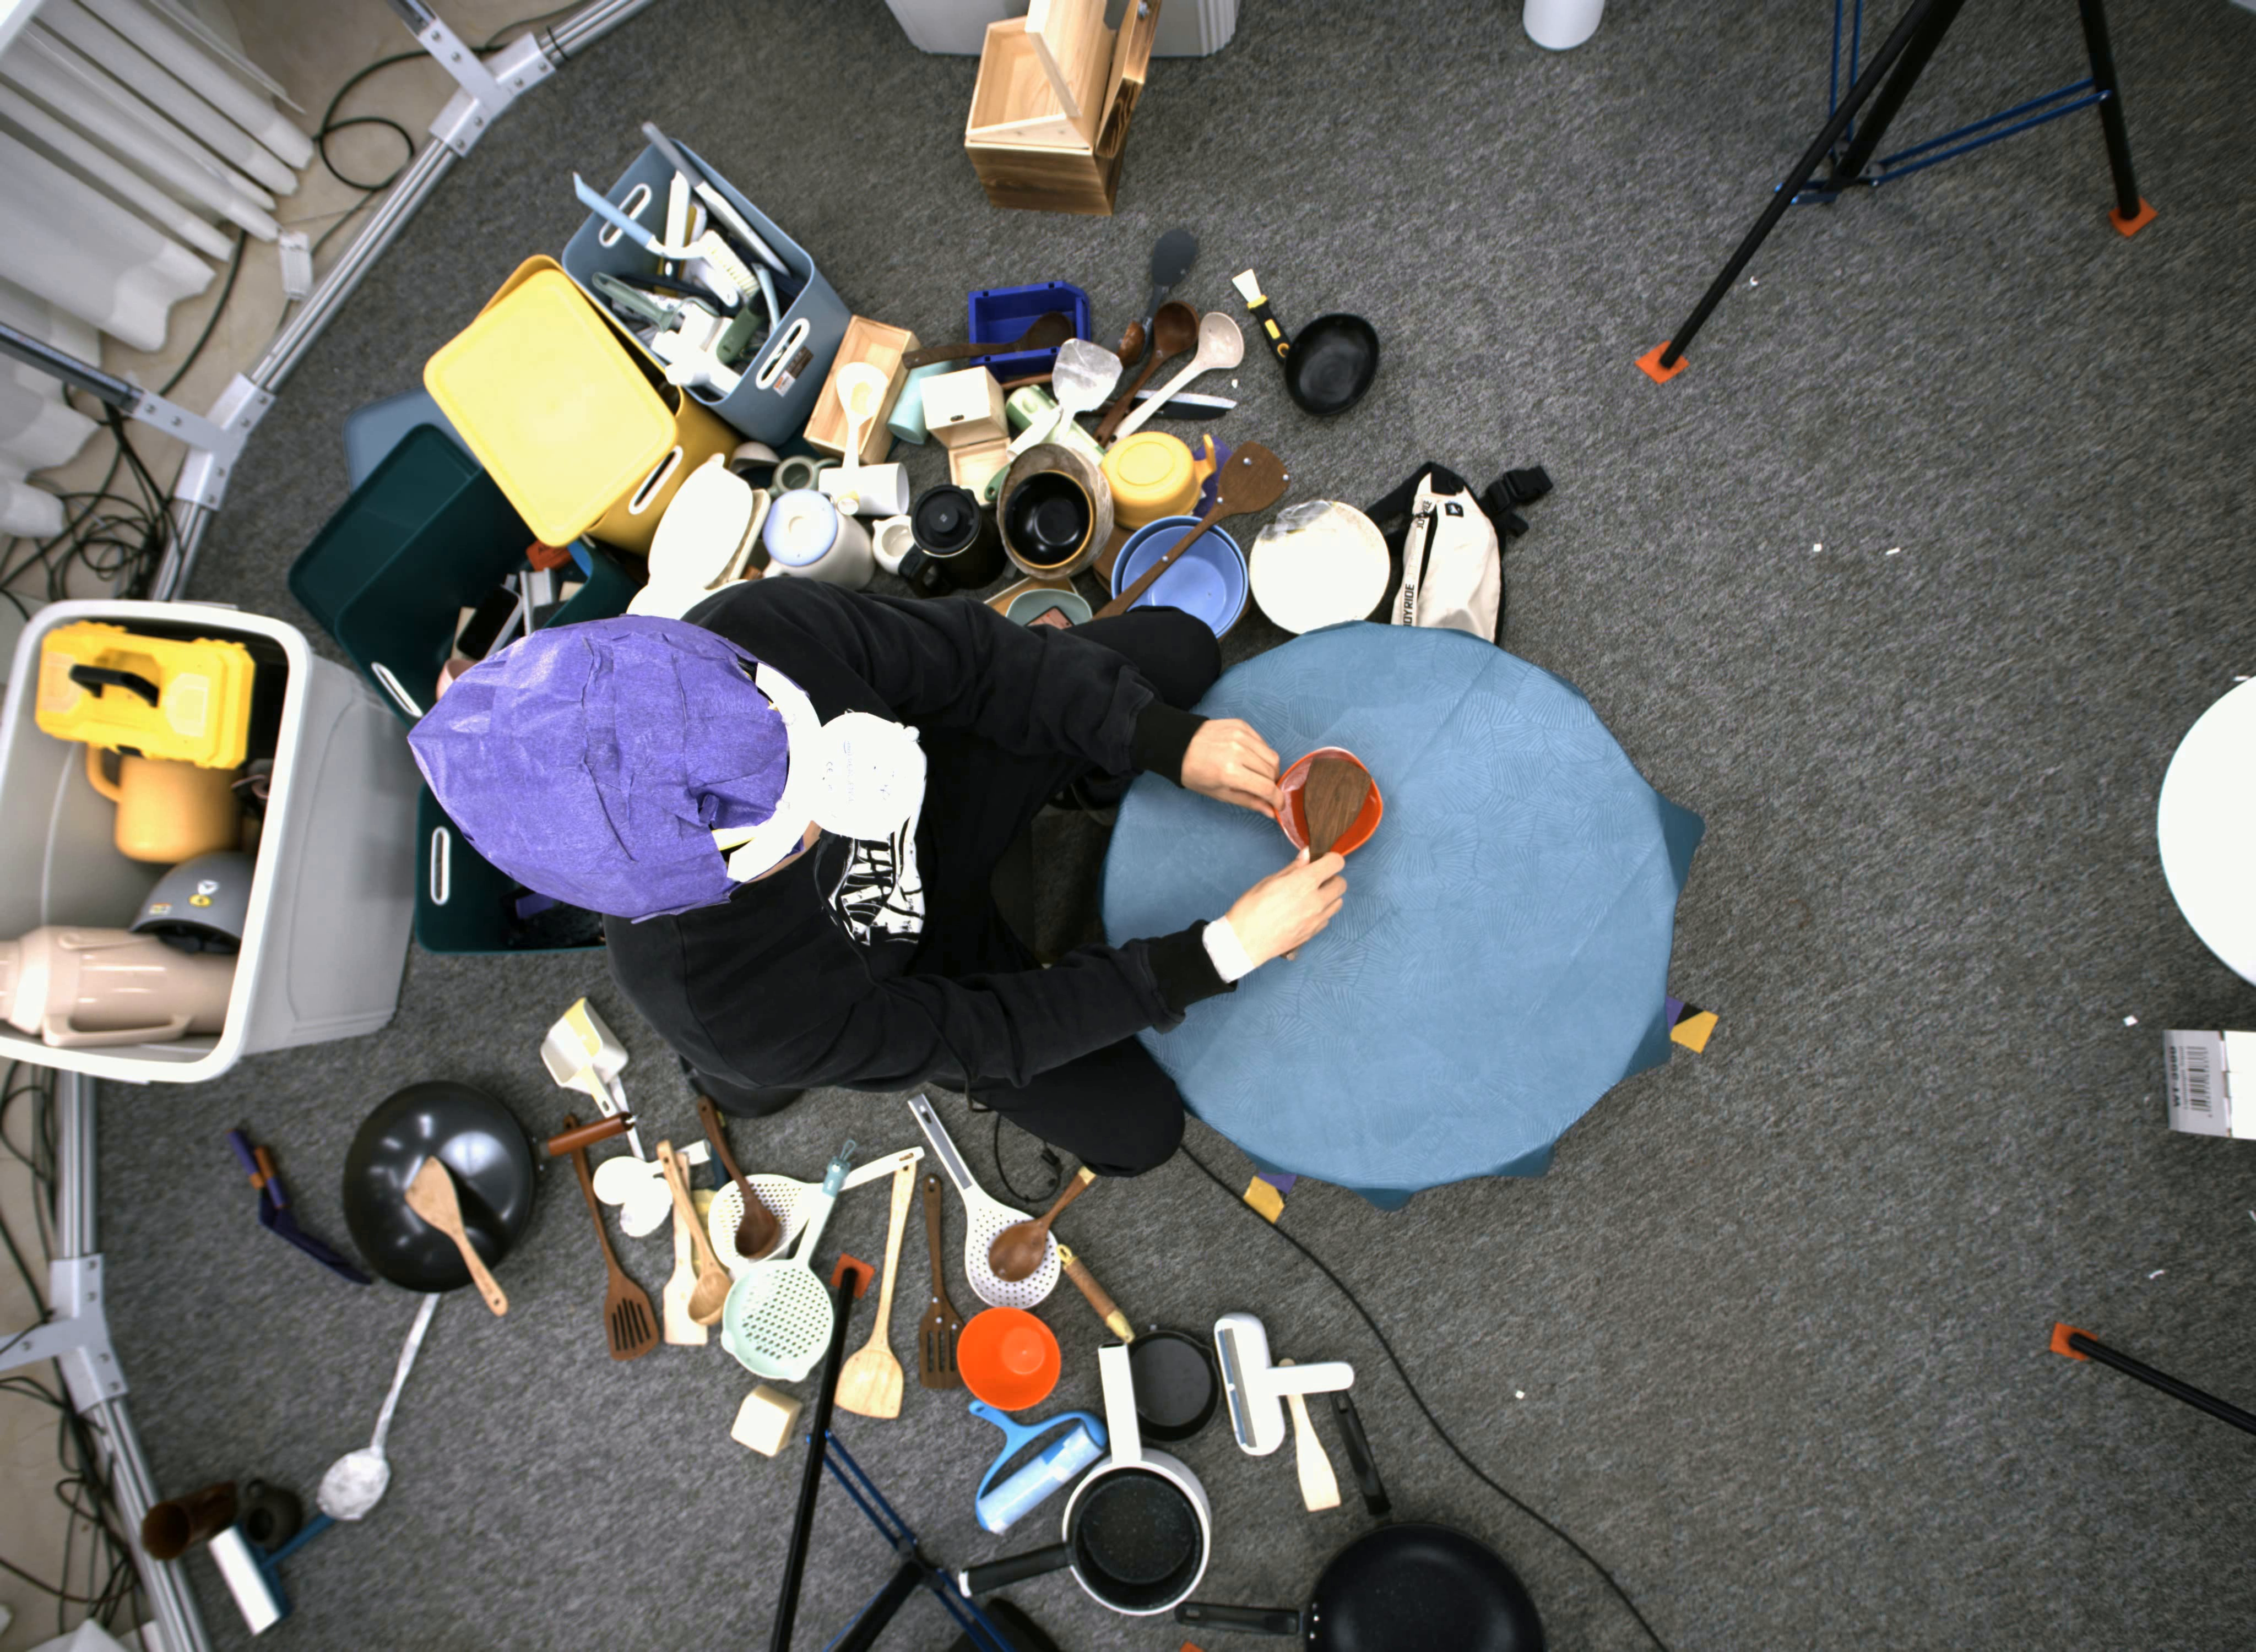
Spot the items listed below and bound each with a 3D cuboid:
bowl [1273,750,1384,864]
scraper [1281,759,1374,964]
[{"bbox_3d":[0.203,-0.021,1.447,0.119,0.051,0.119,0,93,-10],"label":"bowl"},{"bbox_3d":[0.193,0.037,1.403,0.076,0.011,0.210,18,86,-22],"label":"scraper"}]
